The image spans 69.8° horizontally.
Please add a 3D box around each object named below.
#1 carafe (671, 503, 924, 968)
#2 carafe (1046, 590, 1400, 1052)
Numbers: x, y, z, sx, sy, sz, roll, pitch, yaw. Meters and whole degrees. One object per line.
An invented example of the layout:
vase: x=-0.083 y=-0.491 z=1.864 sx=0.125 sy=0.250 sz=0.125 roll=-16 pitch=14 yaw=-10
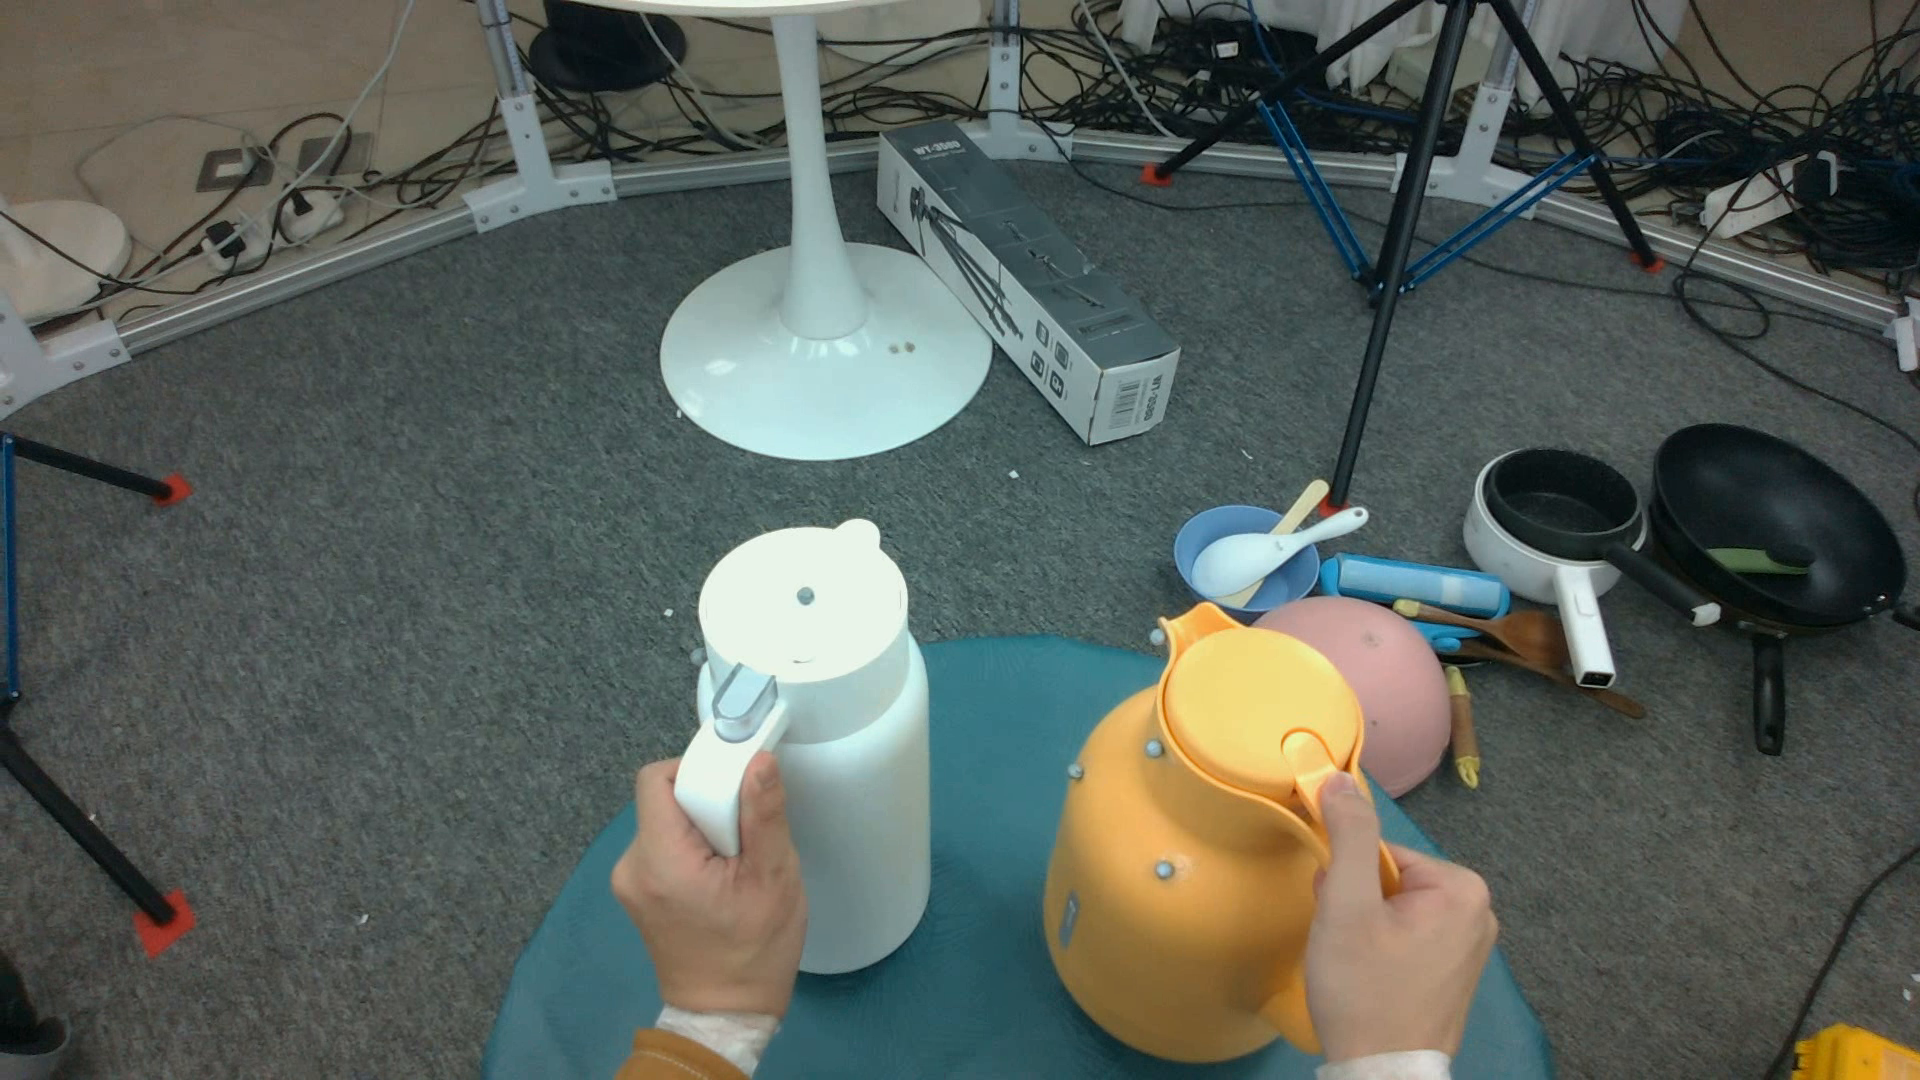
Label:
carafe: x=-0.083 y=0.128 z=0.730 sx=0.124 sy=0.267 sz=0.174 roll=18 pitch=48 yaw=13
carafe: x=0.139 y=0.164 z=0.717 sx=0.164 sy=0.259 sz=0.203 roll=-17 pitch=50 yaw=-15
